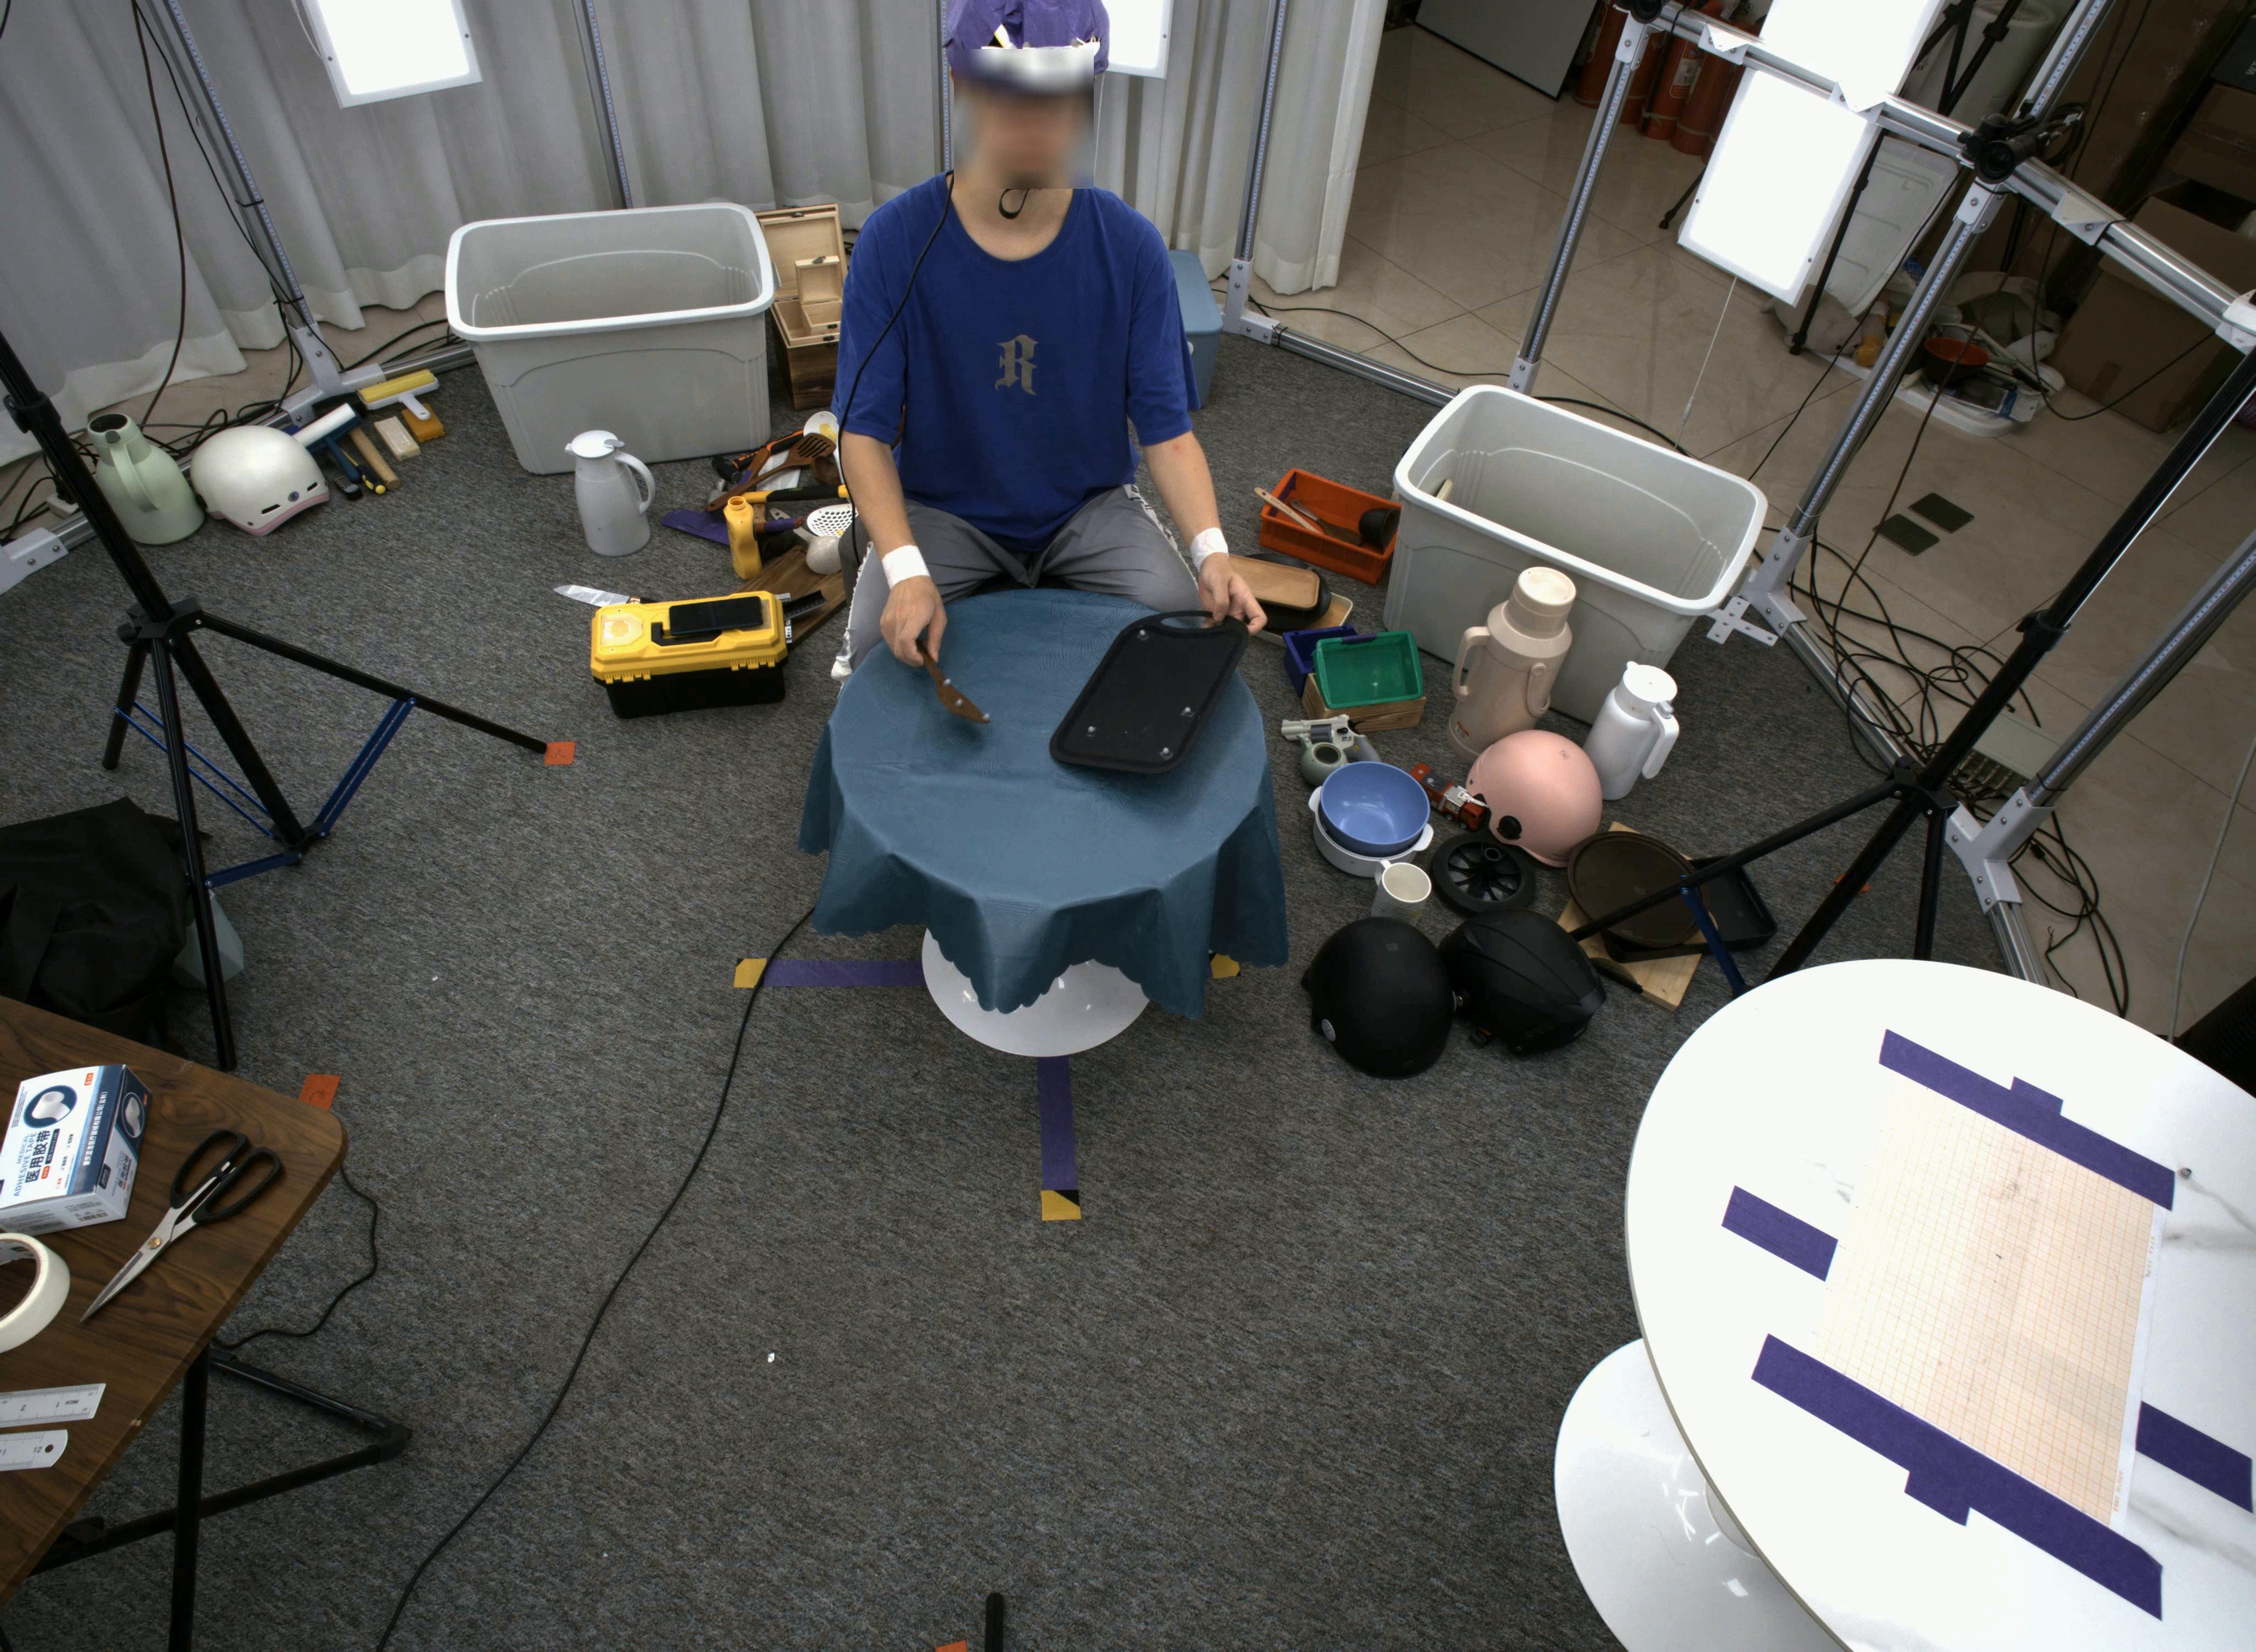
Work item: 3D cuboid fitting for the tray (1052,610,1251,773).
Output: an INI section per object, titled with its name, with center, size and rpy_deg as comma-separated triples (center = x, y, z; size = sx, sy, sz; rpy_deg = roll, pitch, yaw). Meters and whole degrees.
[tray]
center = 0.037, -0.199, 1.792
size = 0.212, 0.009, 0.331
rpy_deg = 9, 51, 28

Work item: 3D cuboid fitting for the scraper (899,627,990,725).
[scraper]
center = -0.263, -0.209, 1.780
size = 0.075, 0.011, 0.215
rpy_deg = 10, 35, -49
